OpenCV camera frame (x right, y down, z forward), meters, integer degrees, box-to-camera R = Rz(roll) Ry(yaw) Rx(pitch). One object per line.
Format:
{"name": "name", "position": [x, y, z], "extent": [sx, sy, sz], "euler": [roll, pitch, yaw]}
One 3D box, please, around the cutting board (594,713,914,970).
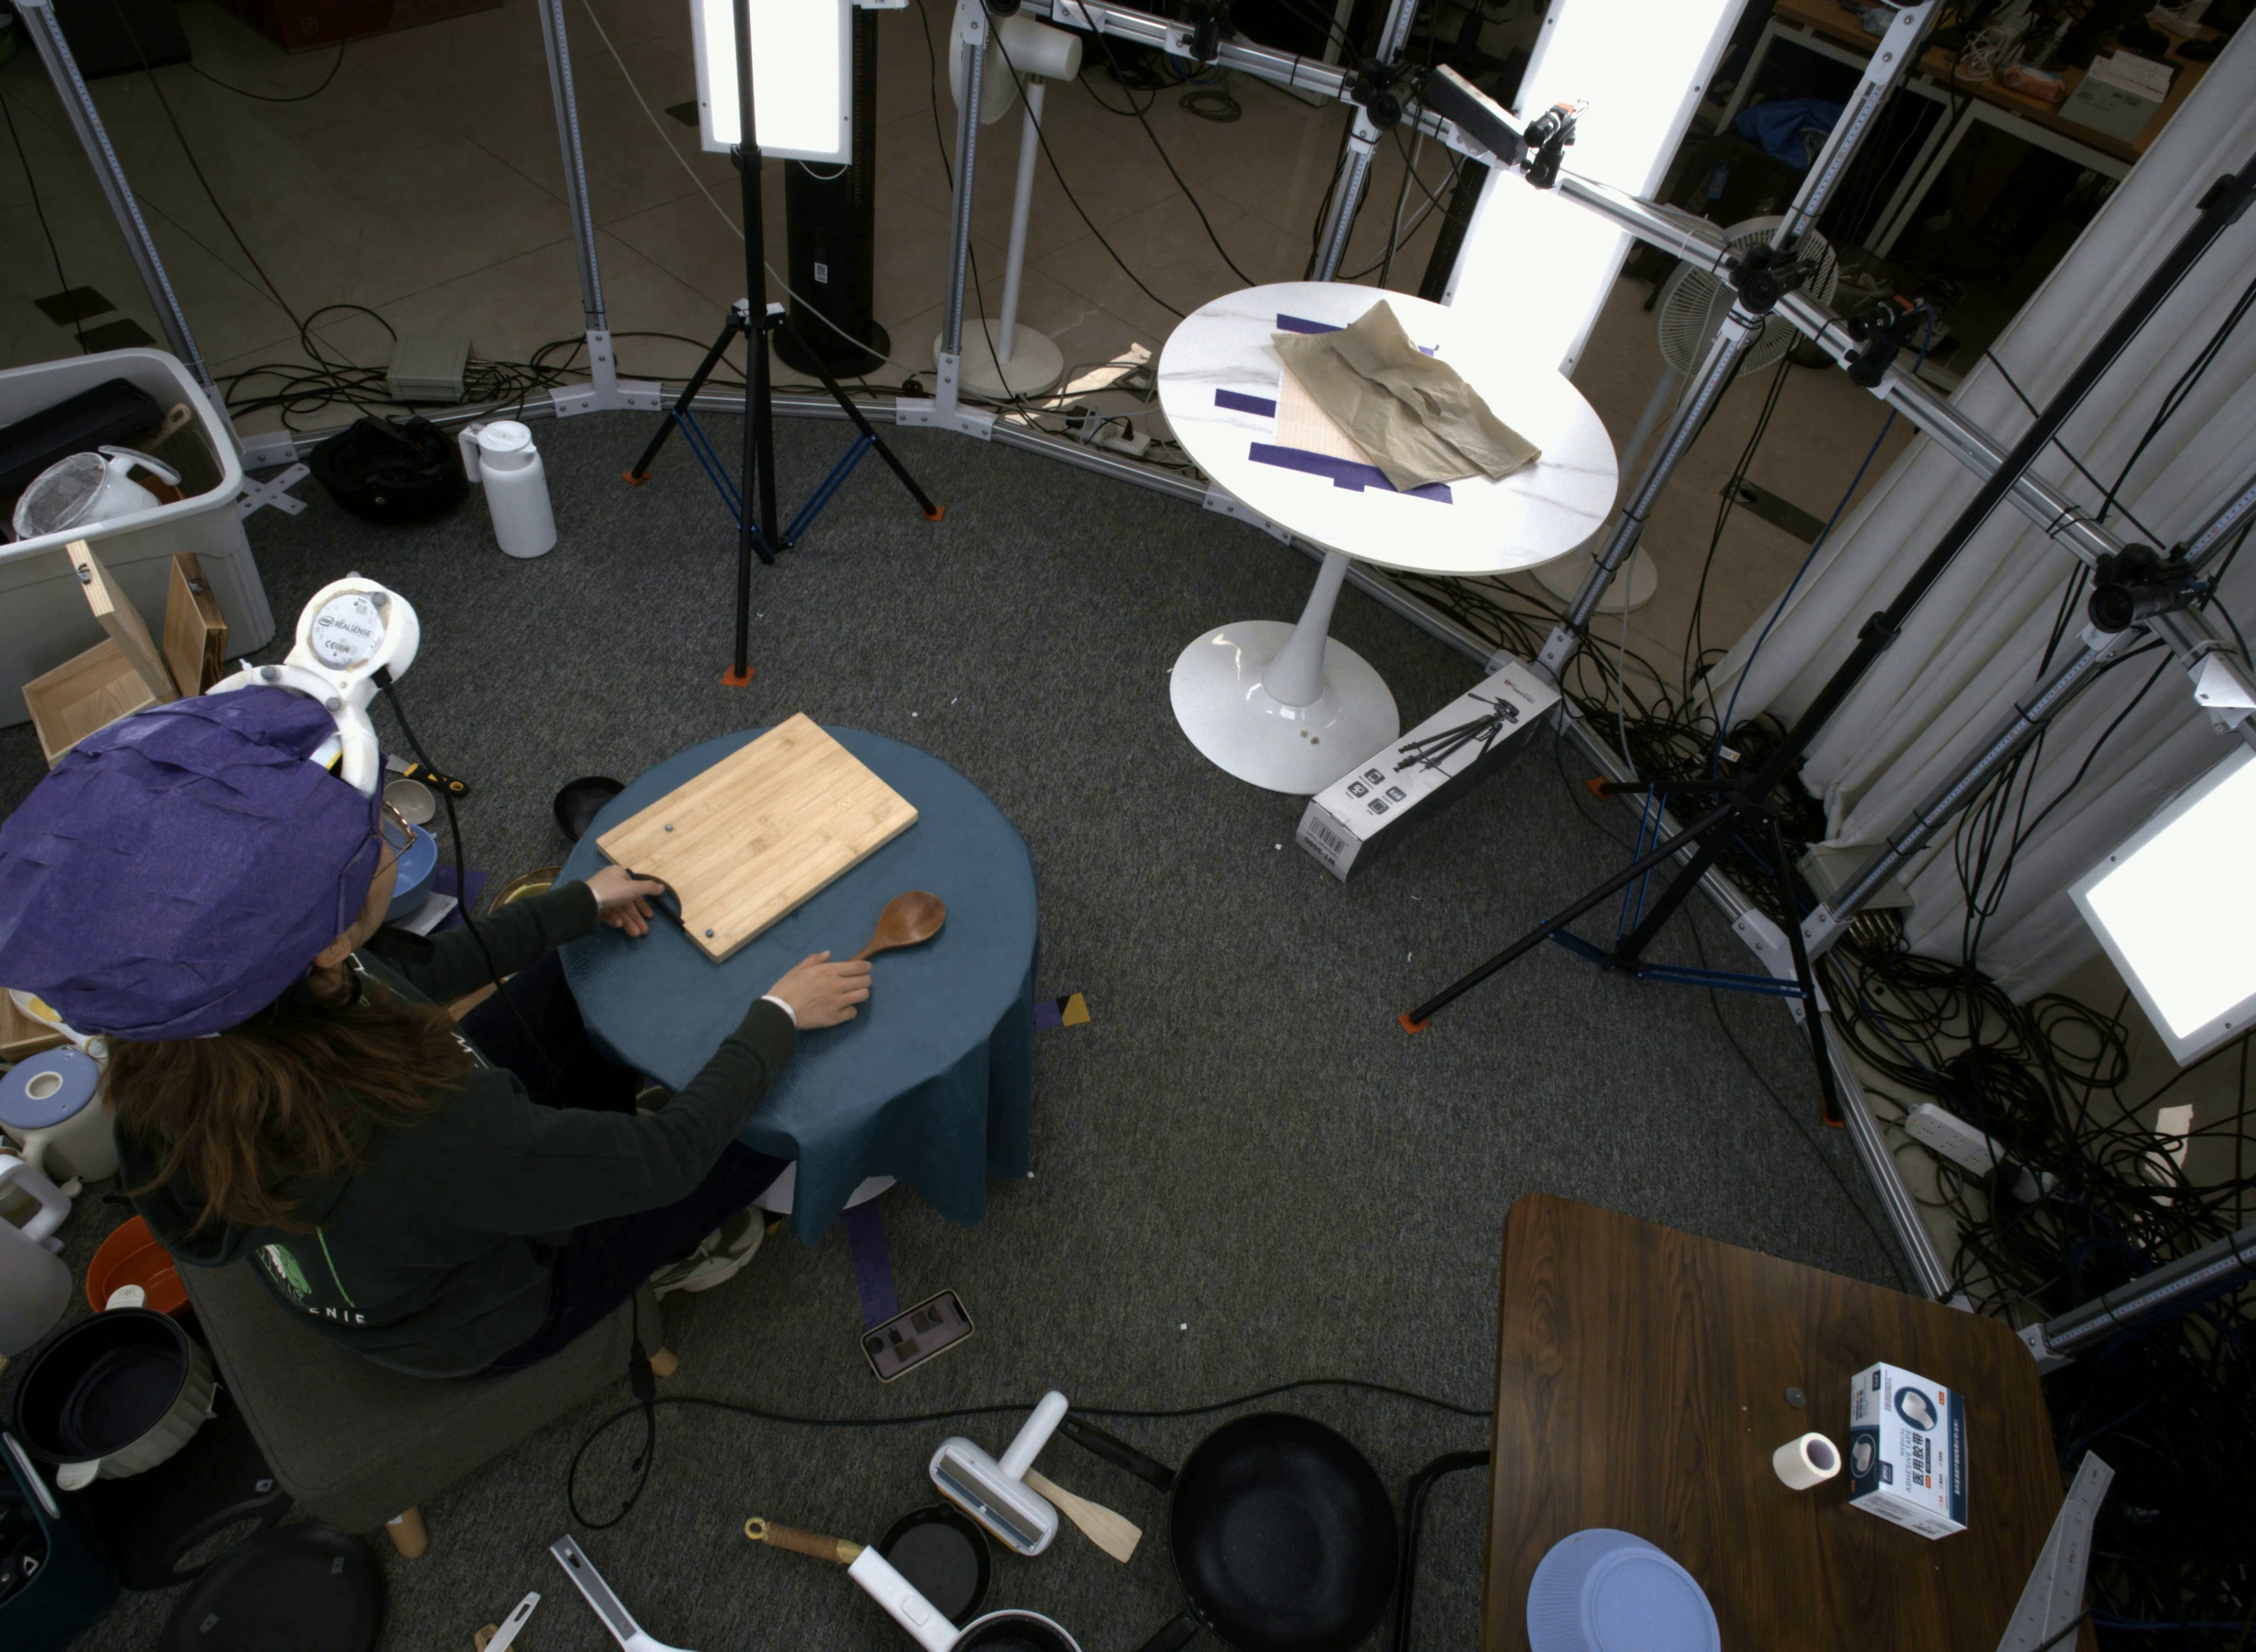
{"name": "cutting board", "position": [-0.486, 0.008, 1.697], "extent": [0.245, 0.024, 0.349], "euler": [38, 54, 15]}

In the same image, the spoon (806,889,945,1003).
{"name": "spoon", "position": [-0.318, 0.150, 1.633], "extent": [0.074, 0.017, 0.216], "euler": [40, 54, 15]}
